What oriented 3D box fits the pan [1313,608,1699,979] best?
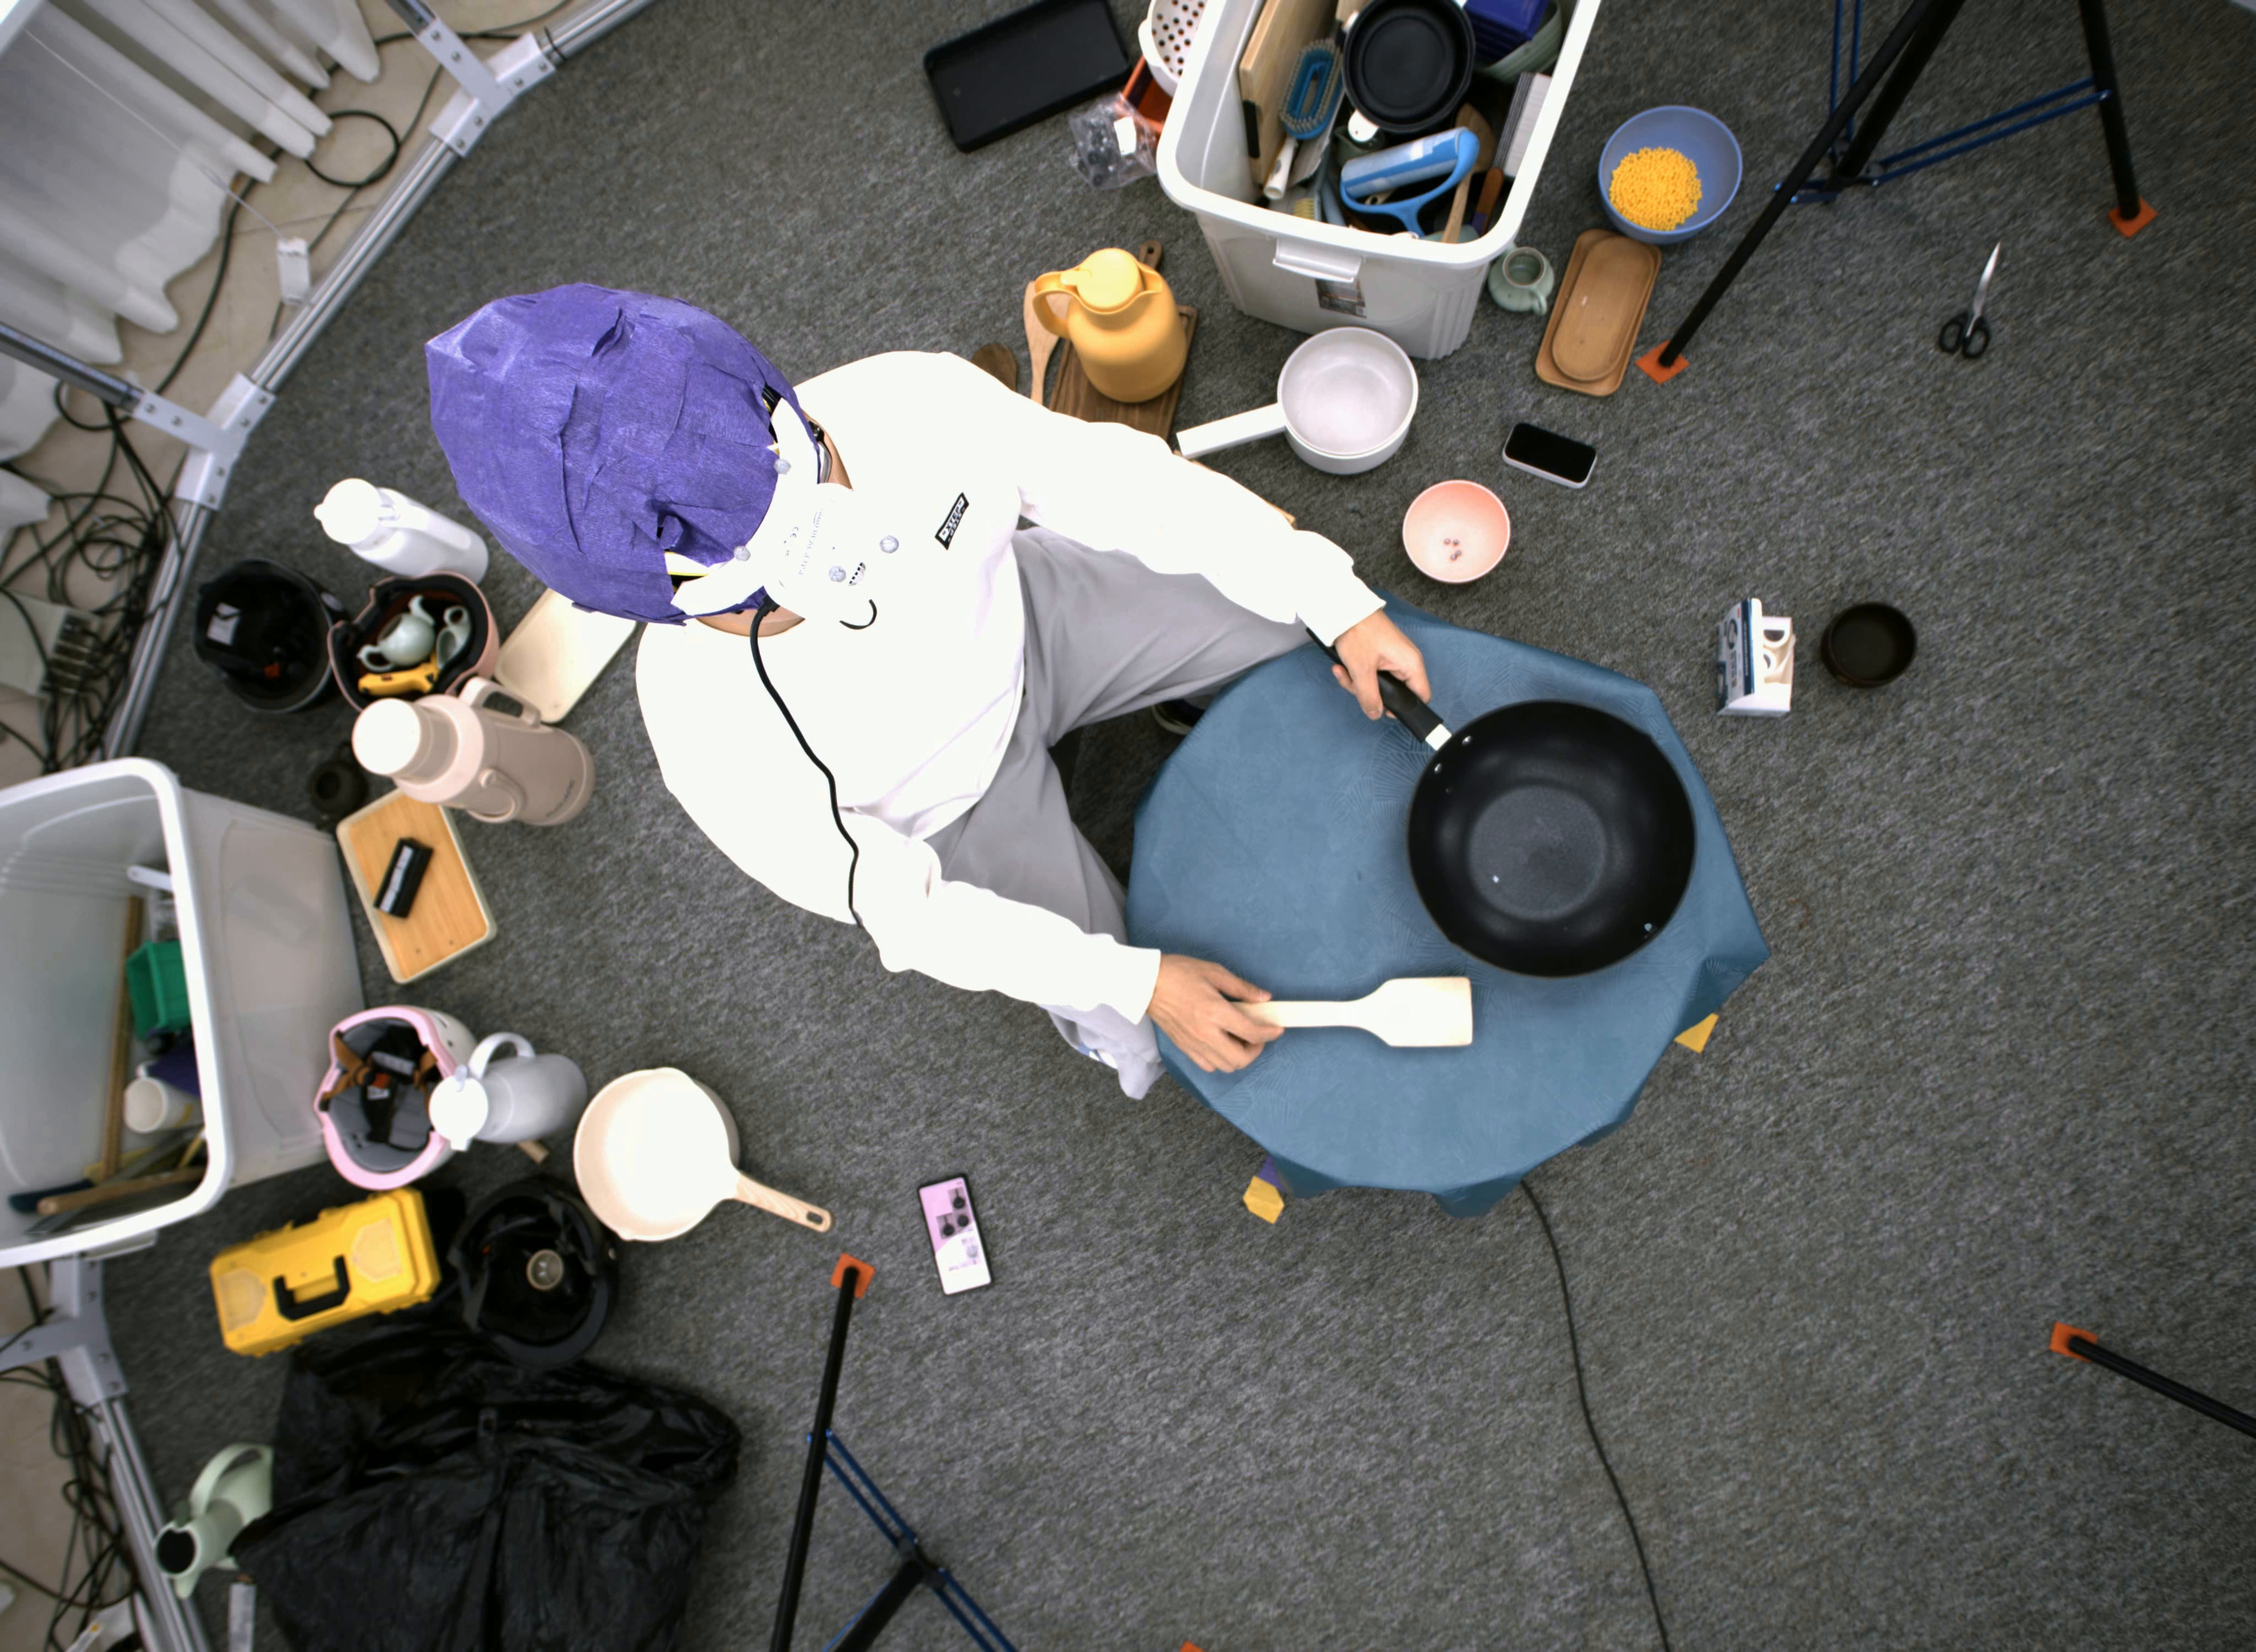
[{"bbox_3d":[0.356,-0.048,1.398,0.288,0.087,0.460,-45,77,0],"label":"pan"}]

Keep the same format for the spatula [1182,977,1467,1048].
[{"bbox_3d":[0.202,0.193,1.433,0.294,0.010,0.072,-2,87,9],"label":"spatula"}]
